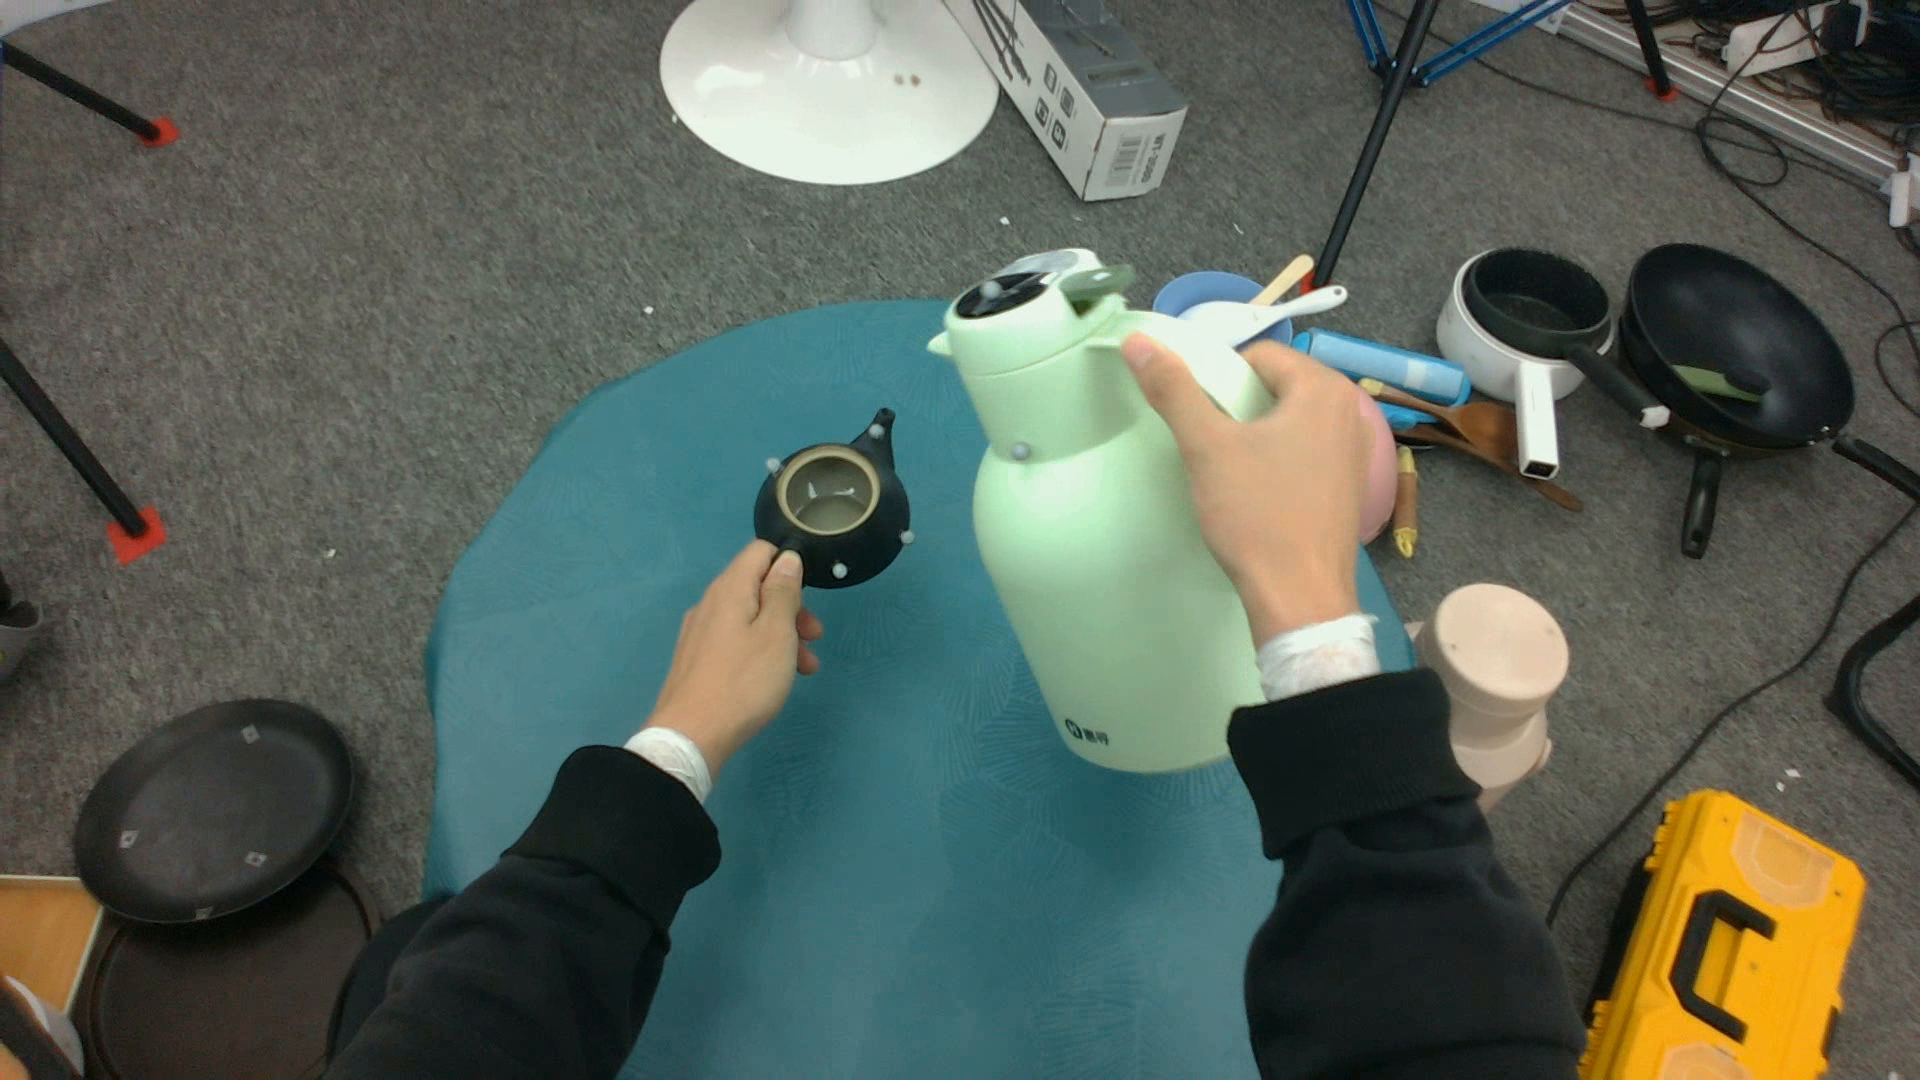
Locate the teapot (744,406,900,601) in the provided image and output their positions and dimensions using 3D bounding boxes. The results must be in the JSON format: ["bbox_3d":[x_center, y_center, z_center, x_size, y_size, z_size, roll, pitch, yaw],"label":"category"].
[{"bbox_3d":[-0.080,-0.017,0.796,0.091,0.053,0.134,23,60,15],"label":"teapot"}]

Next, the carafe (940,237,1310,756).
[{"bbox_3d":[0.090,-0.022,0.685,0.186,0.256,0.145,13,45,42],"label":"carafe"}]
